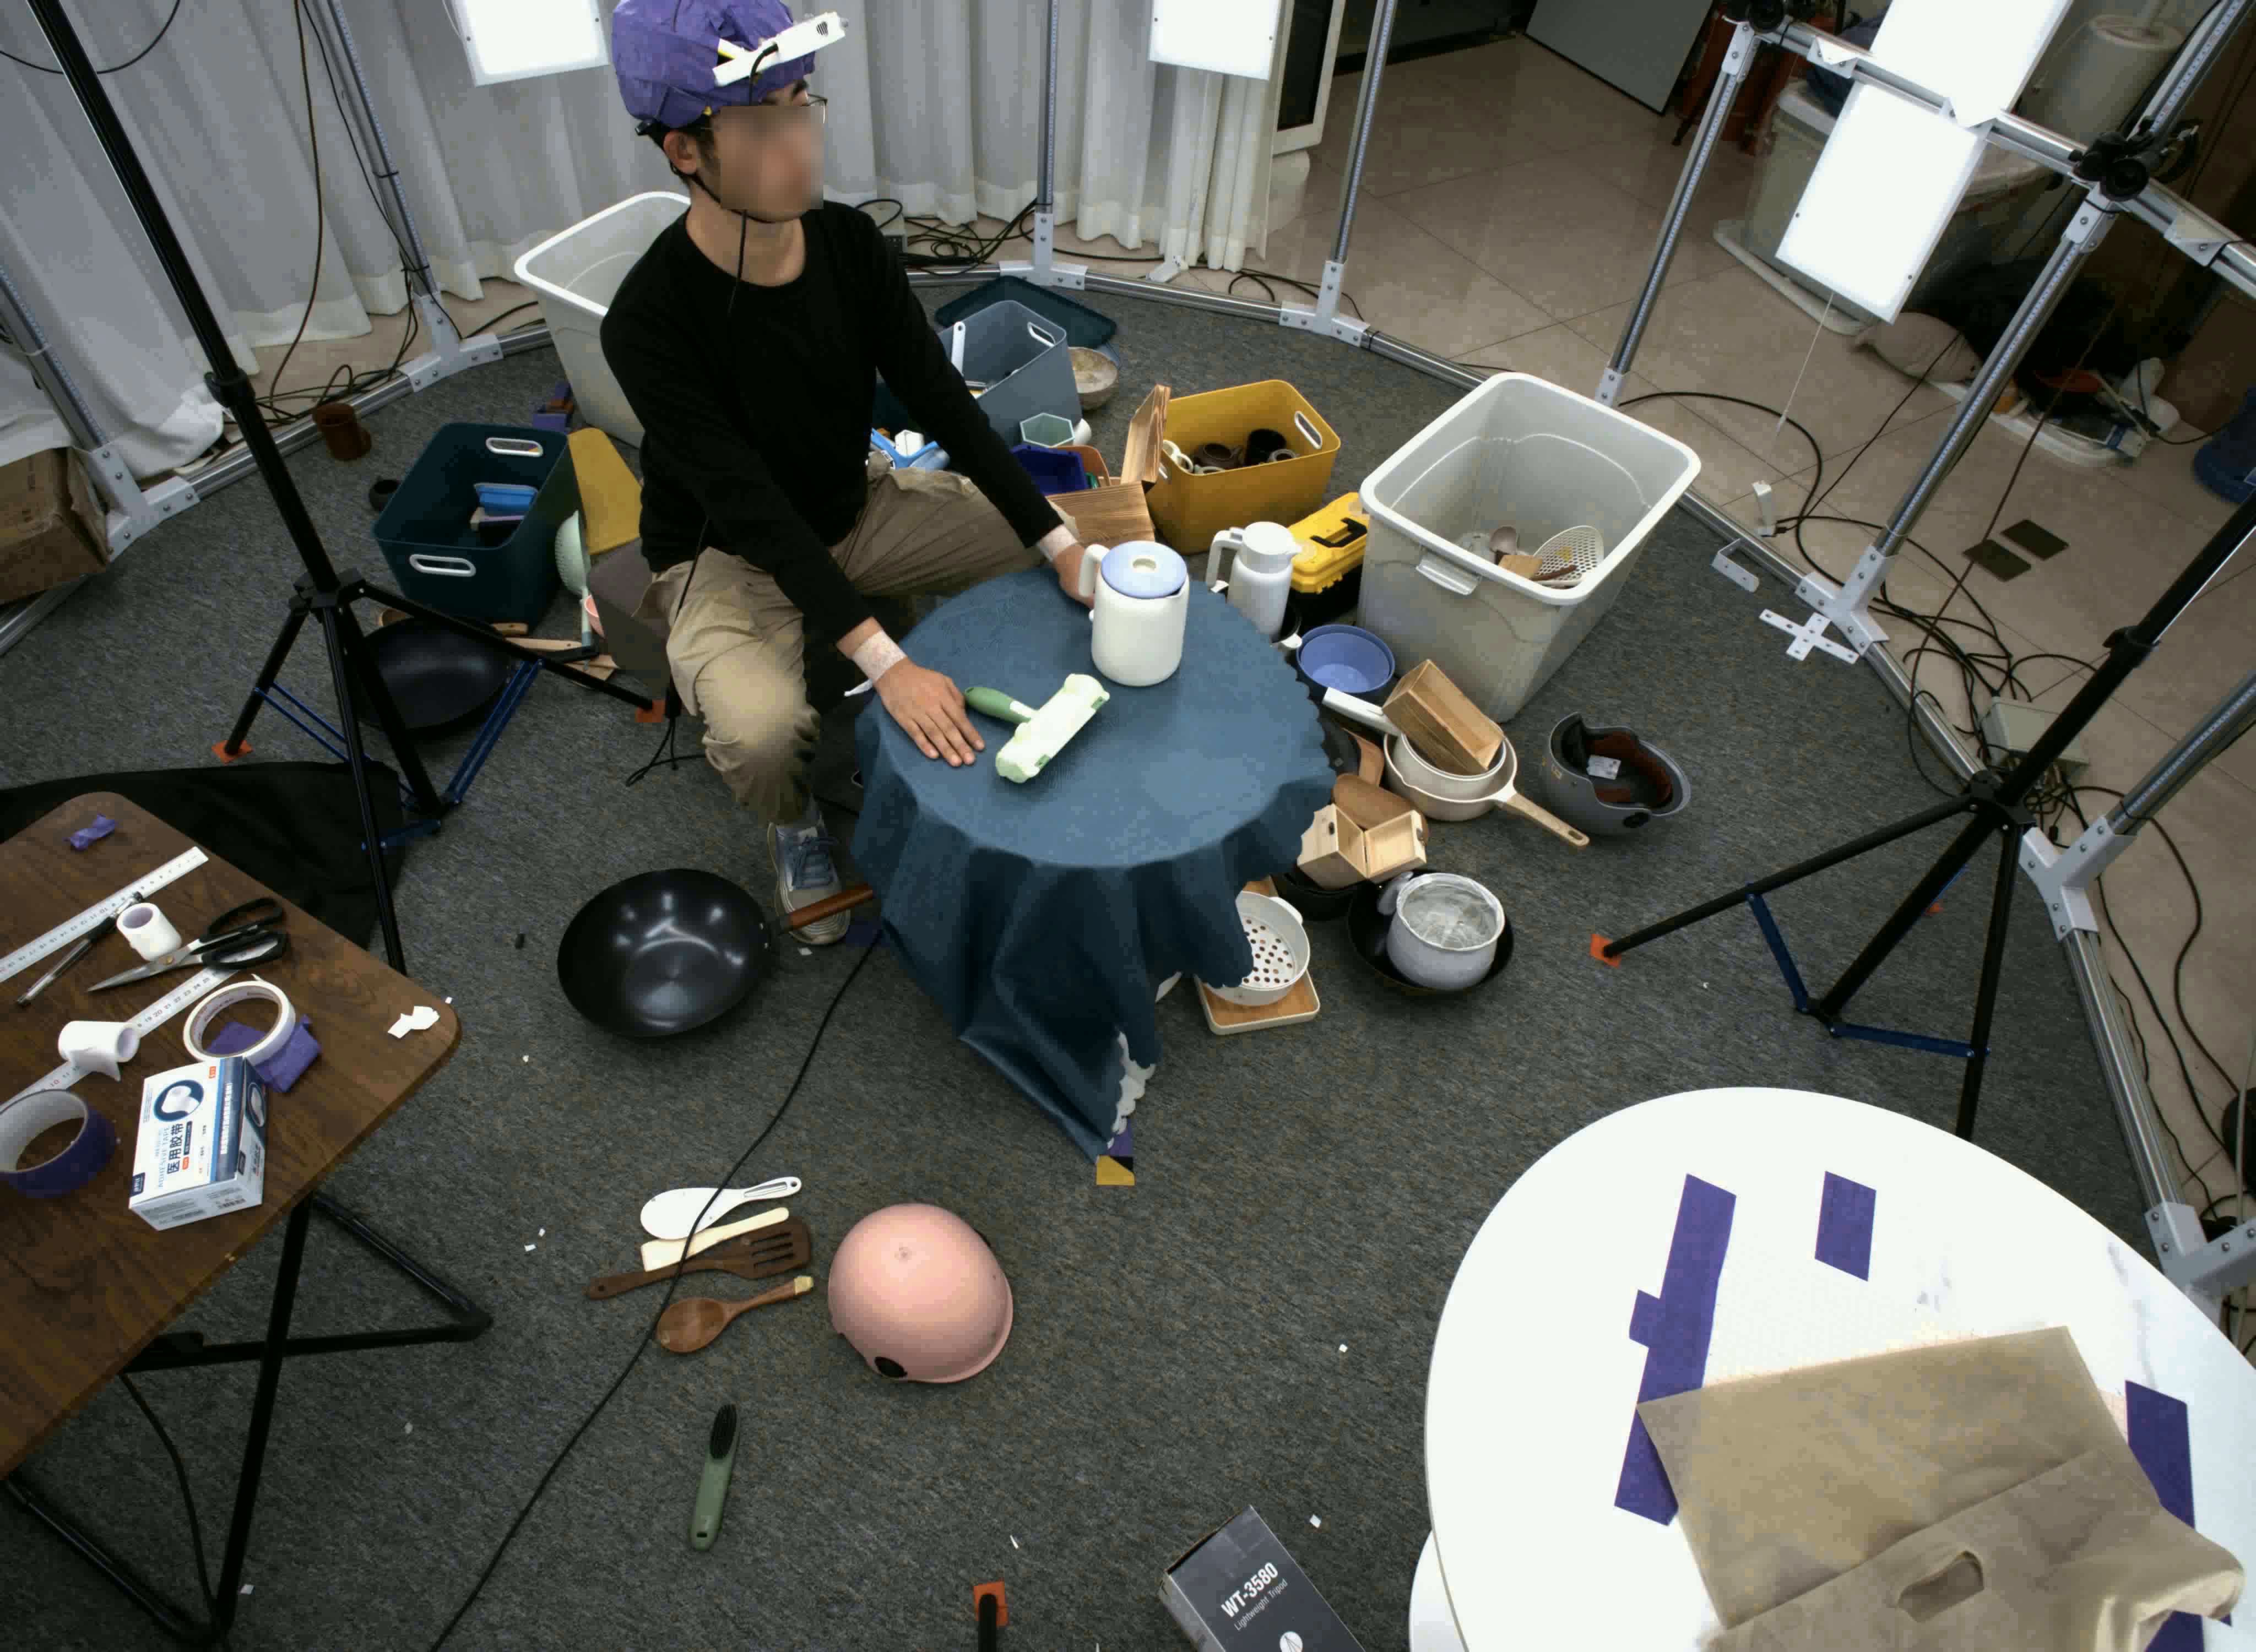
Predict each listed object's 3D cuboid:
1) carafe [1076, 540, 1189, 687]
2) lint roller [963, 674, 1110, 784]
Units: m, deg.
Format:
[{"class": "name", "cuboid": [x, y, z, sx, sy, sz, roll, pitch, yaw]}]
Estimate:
[{"class": "carafe", "cuboid": [-0.001, -0.314, 1.831, 0.194, 0.178, 0.133, 36, 55, 27]}, {"class": "lint roller", "cuboid": [-0.149, -0.165, 1.753, 0.185, 0.080, 0.201, 29, 52, 17]}]
